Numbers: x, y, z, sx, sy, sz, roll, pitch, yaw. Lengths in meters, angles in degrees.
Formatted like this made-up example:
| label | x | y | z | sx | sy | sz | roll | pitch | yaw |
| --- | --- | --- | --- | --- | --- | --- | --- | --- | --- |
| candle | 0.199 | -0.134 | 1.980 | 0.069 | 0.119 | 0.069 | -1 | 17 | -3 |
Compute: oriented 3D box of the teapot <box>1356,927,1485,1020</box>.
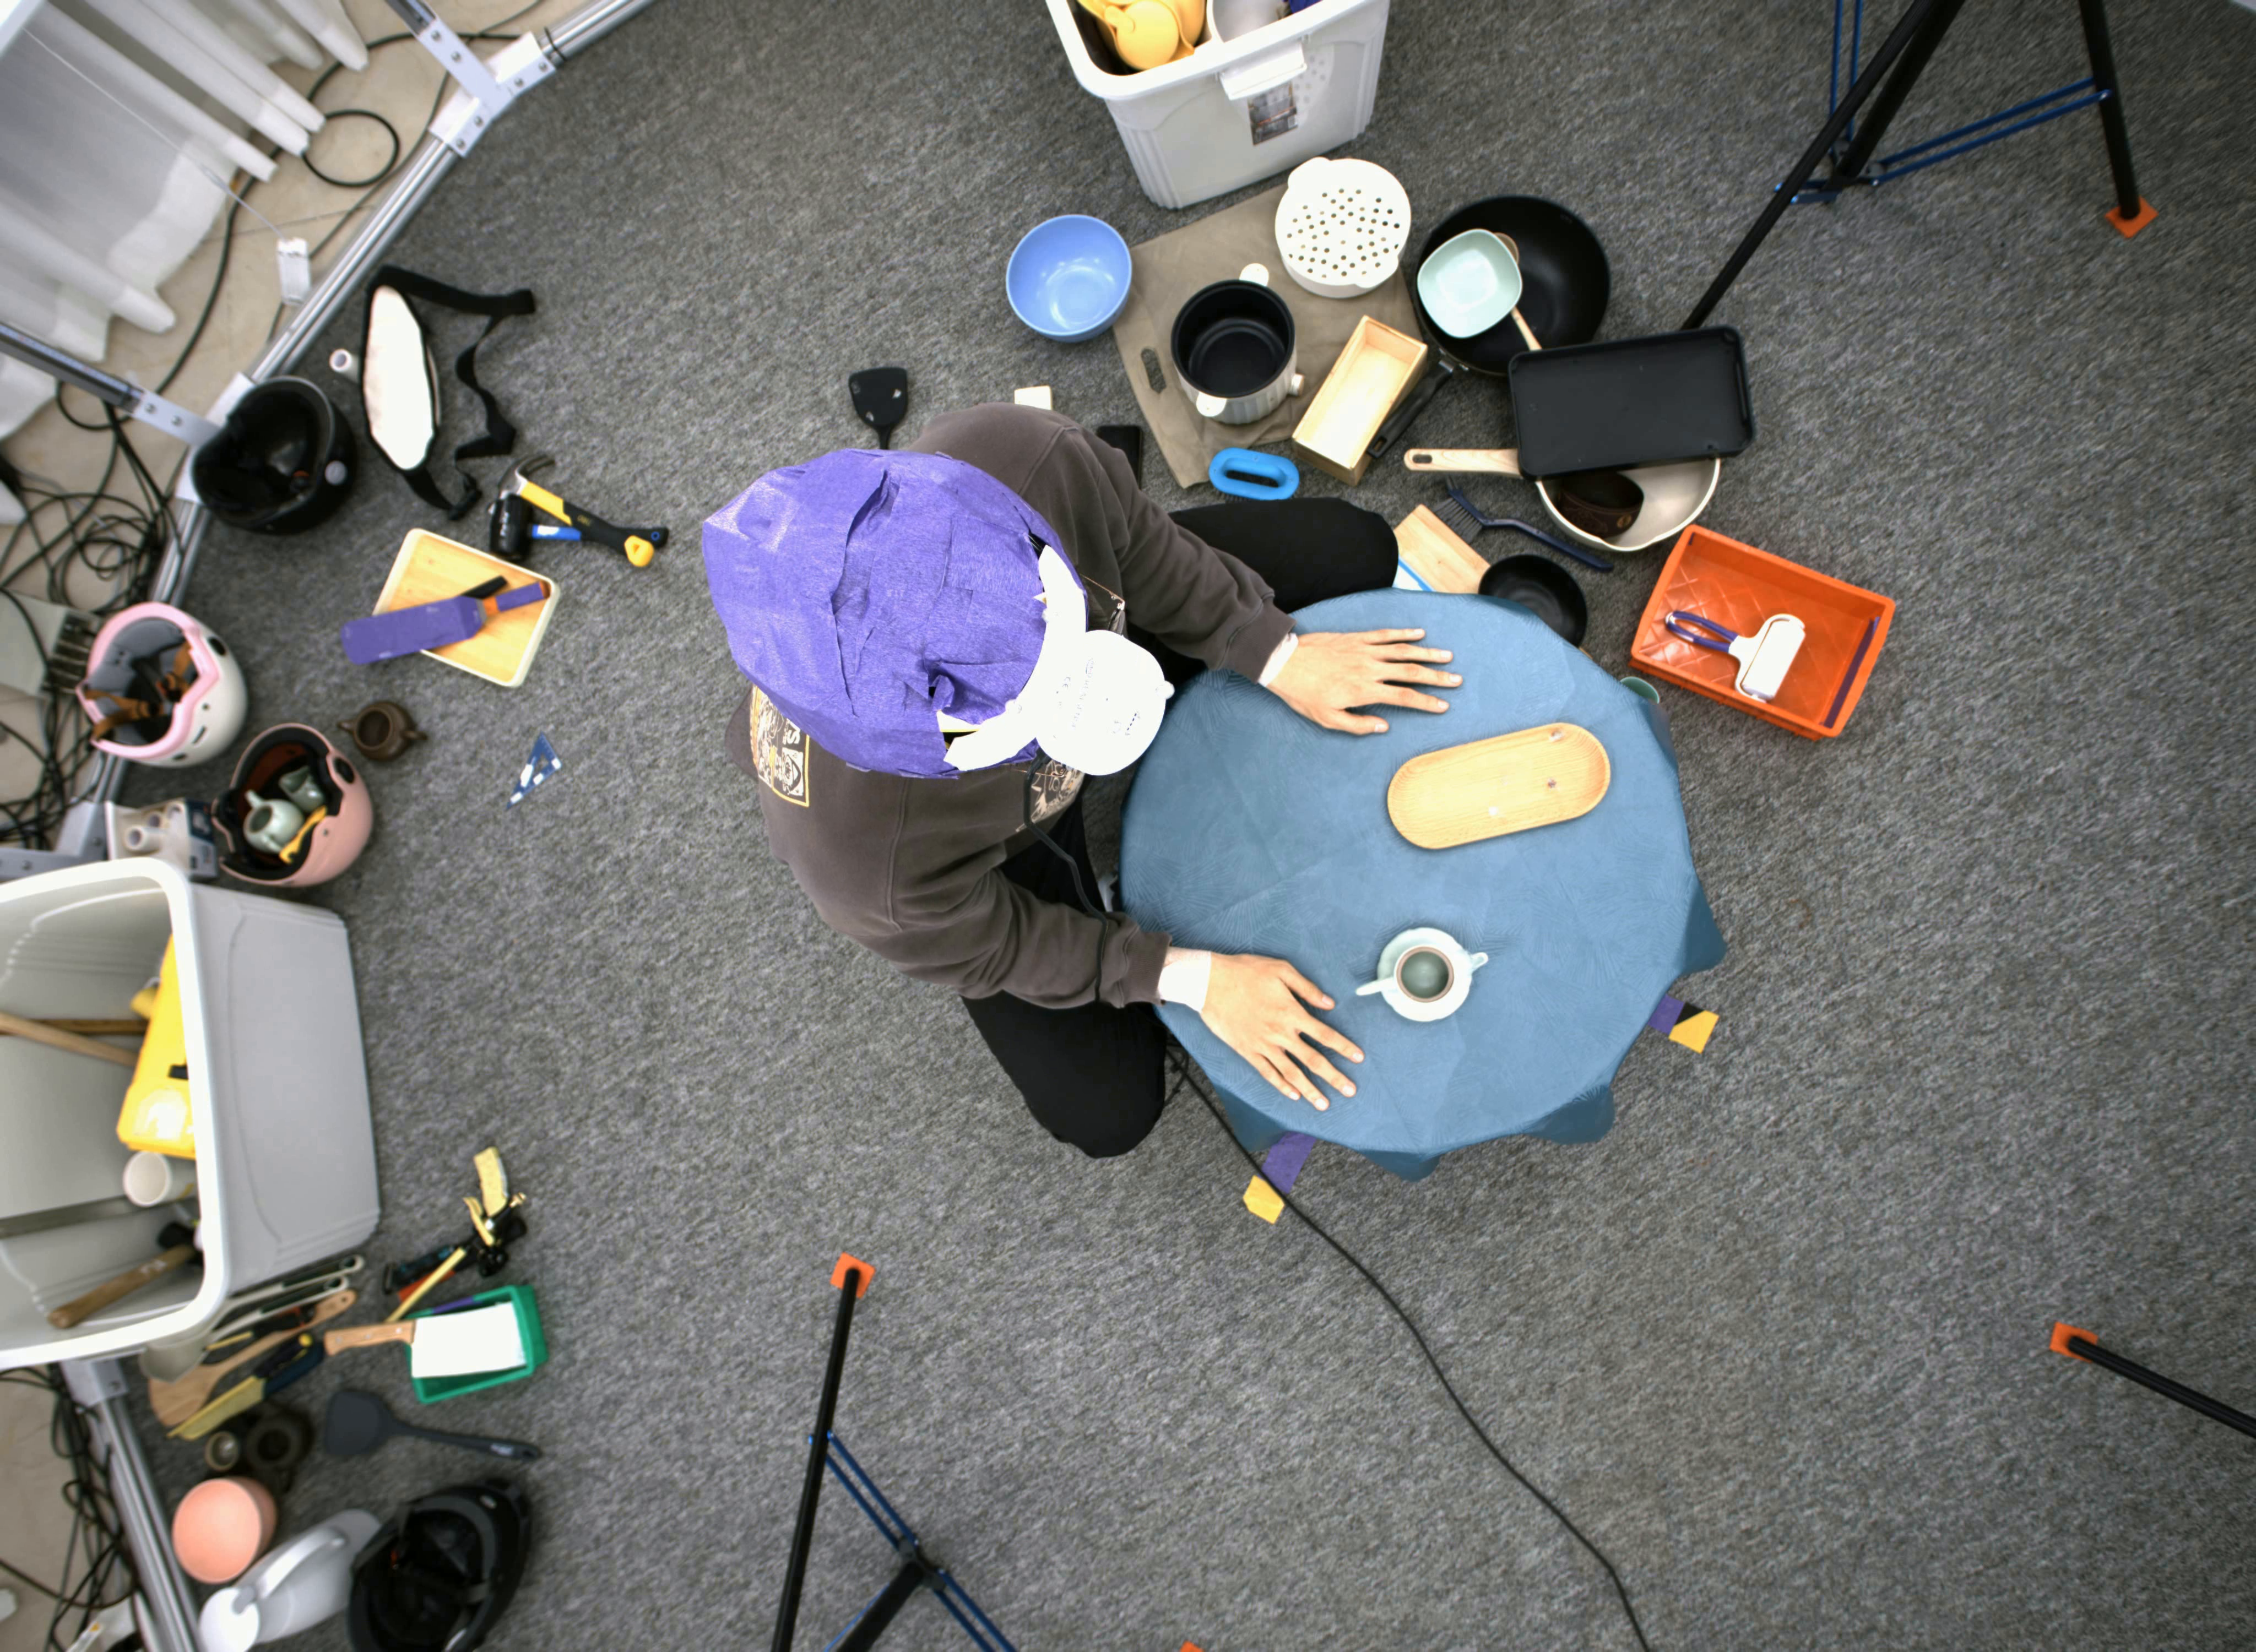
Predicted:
| label | x | y | z | sx | sy | sz | roll | pitch | yaw |
| --- | --- | --- | --- | --- | --- | --- | --- | --- | --- |
| teapot | 0.299 | 0.151 | 1.418 | 0.138 | 0.061 | 0.096 | -20 | 85 | 8 |

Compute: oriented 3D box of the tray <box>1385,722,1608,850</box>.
| label | x | y | z | sx | sy | sz | roll | pitch | yaw |
| --- | --- | --- | --- | --- | --- | --- | --- | --- | --- |
| tray | 0.383 | -0.043 | 1.433 | 0.232 | 0.020 | 0.101 | -15 | 85 | 11 |
